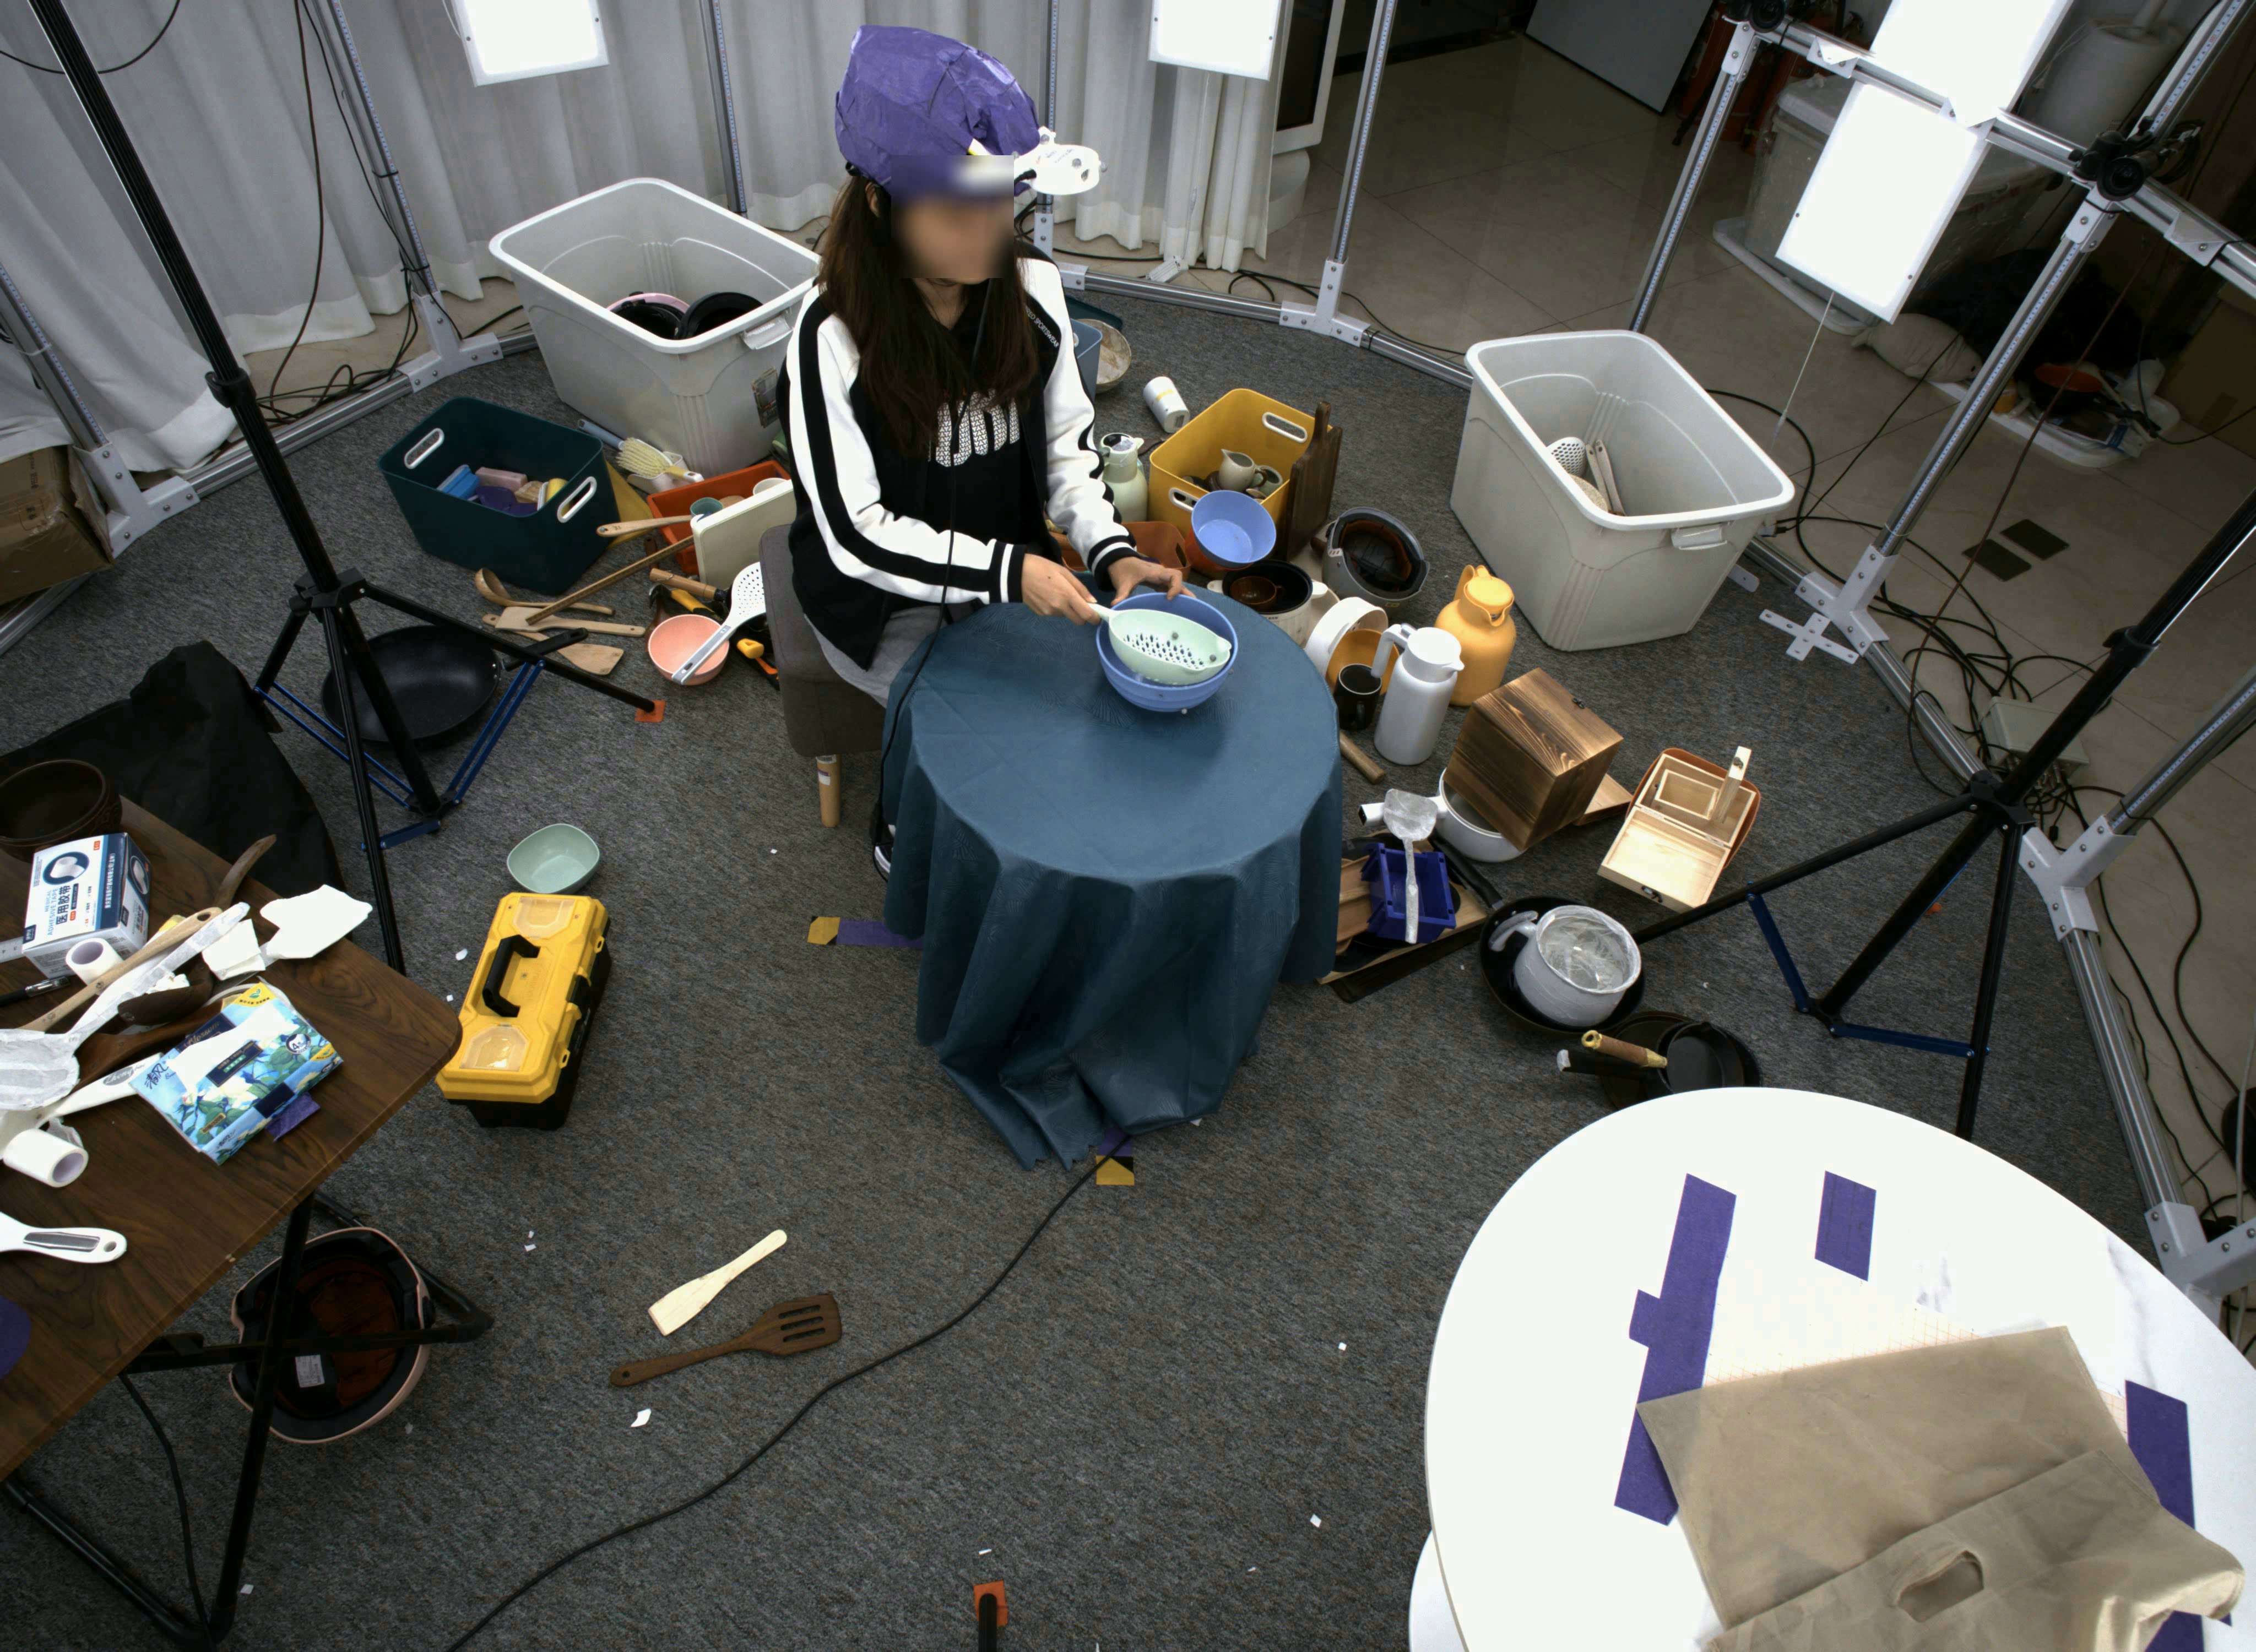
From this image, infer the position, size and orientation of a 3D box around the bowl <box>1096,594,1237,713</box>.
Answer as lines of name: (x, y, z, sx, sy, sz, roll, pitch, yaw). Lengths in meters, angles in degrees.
bowl: (0.051, -0.228, 1.811, 0.196, 0.093, 0.201, 1, 50, -2)

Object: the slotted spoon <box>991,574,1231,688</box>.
slotted spoon: (-0.032, -0.285, 1.782, 0.361, 0.074, 0.171, 32, 32, 12)
